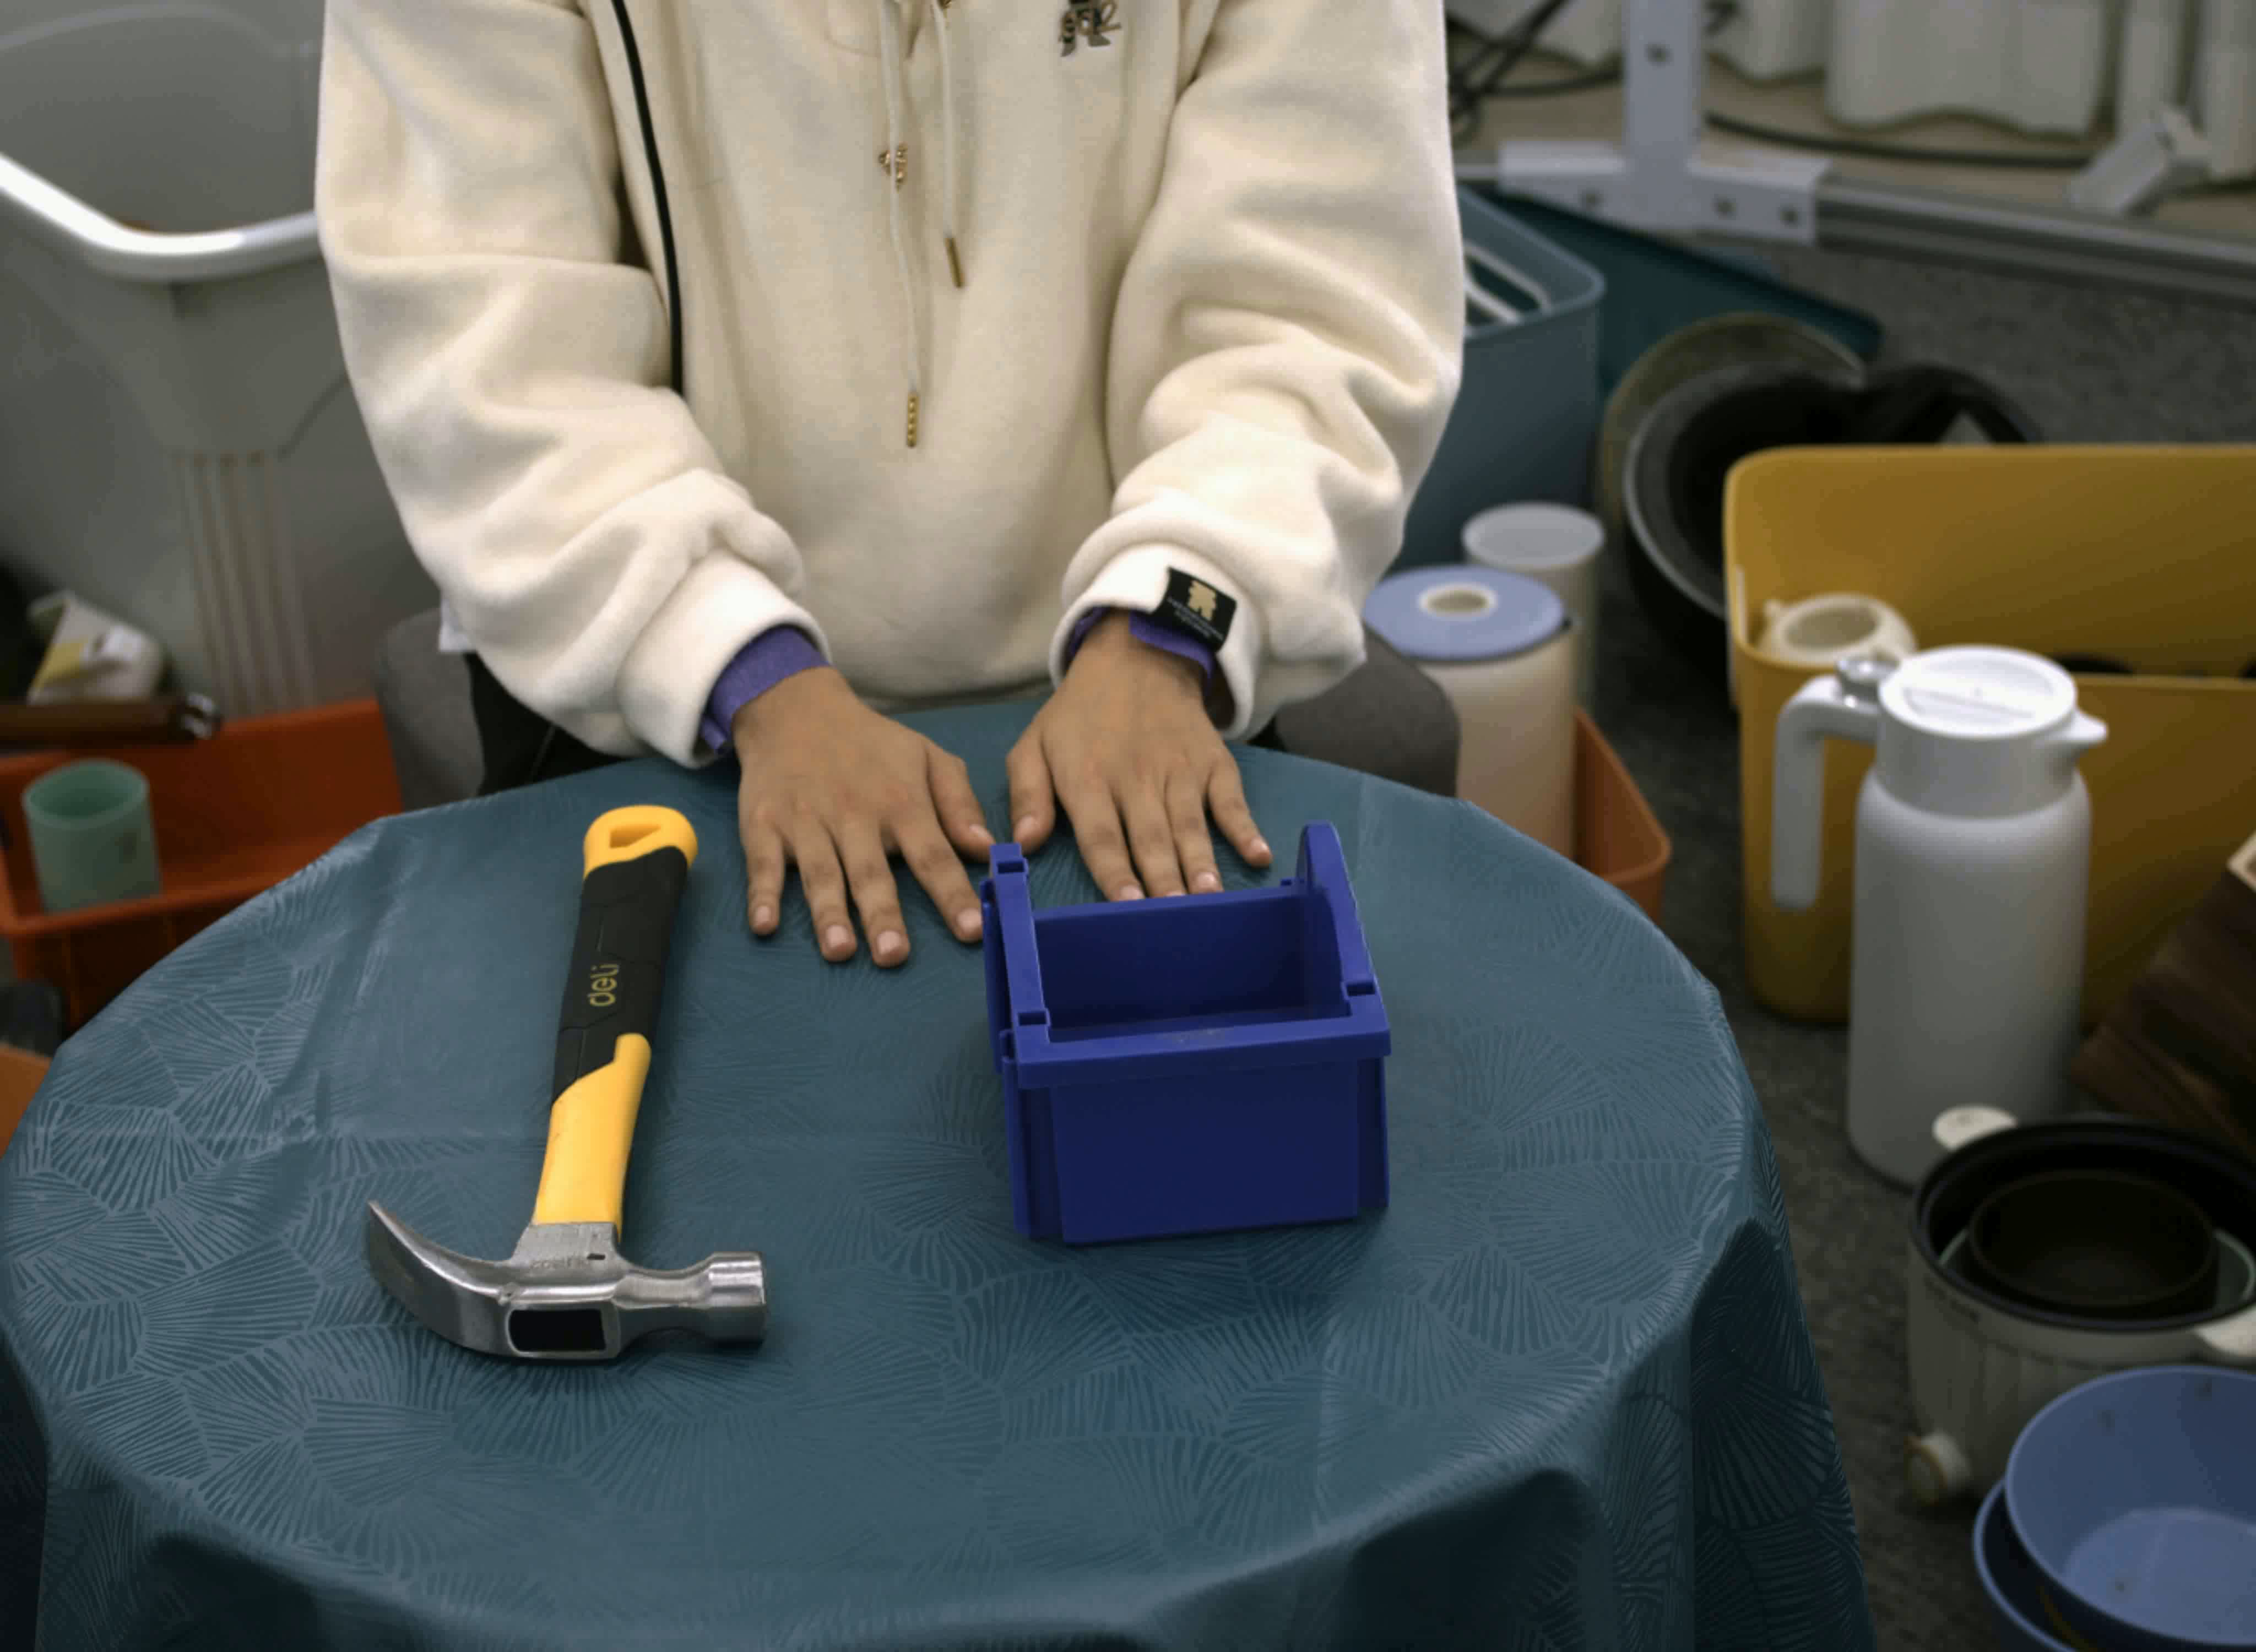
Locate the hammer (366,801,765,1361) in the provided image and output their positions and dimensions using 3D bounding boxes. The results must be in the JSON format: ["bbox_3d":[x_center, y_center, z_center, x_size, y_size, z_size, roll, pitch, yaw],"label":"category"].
[{"bbox_3d":[-0.179,0.080,1.923,0.131,0.032,0.344,-3,28,3],"label":"hammer"}]

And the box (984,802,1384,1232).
[{"bbox_3d":[0.016,0.059,1.893,0.124,0.081,0.182,-5,29,-2],"label":"box"}]
